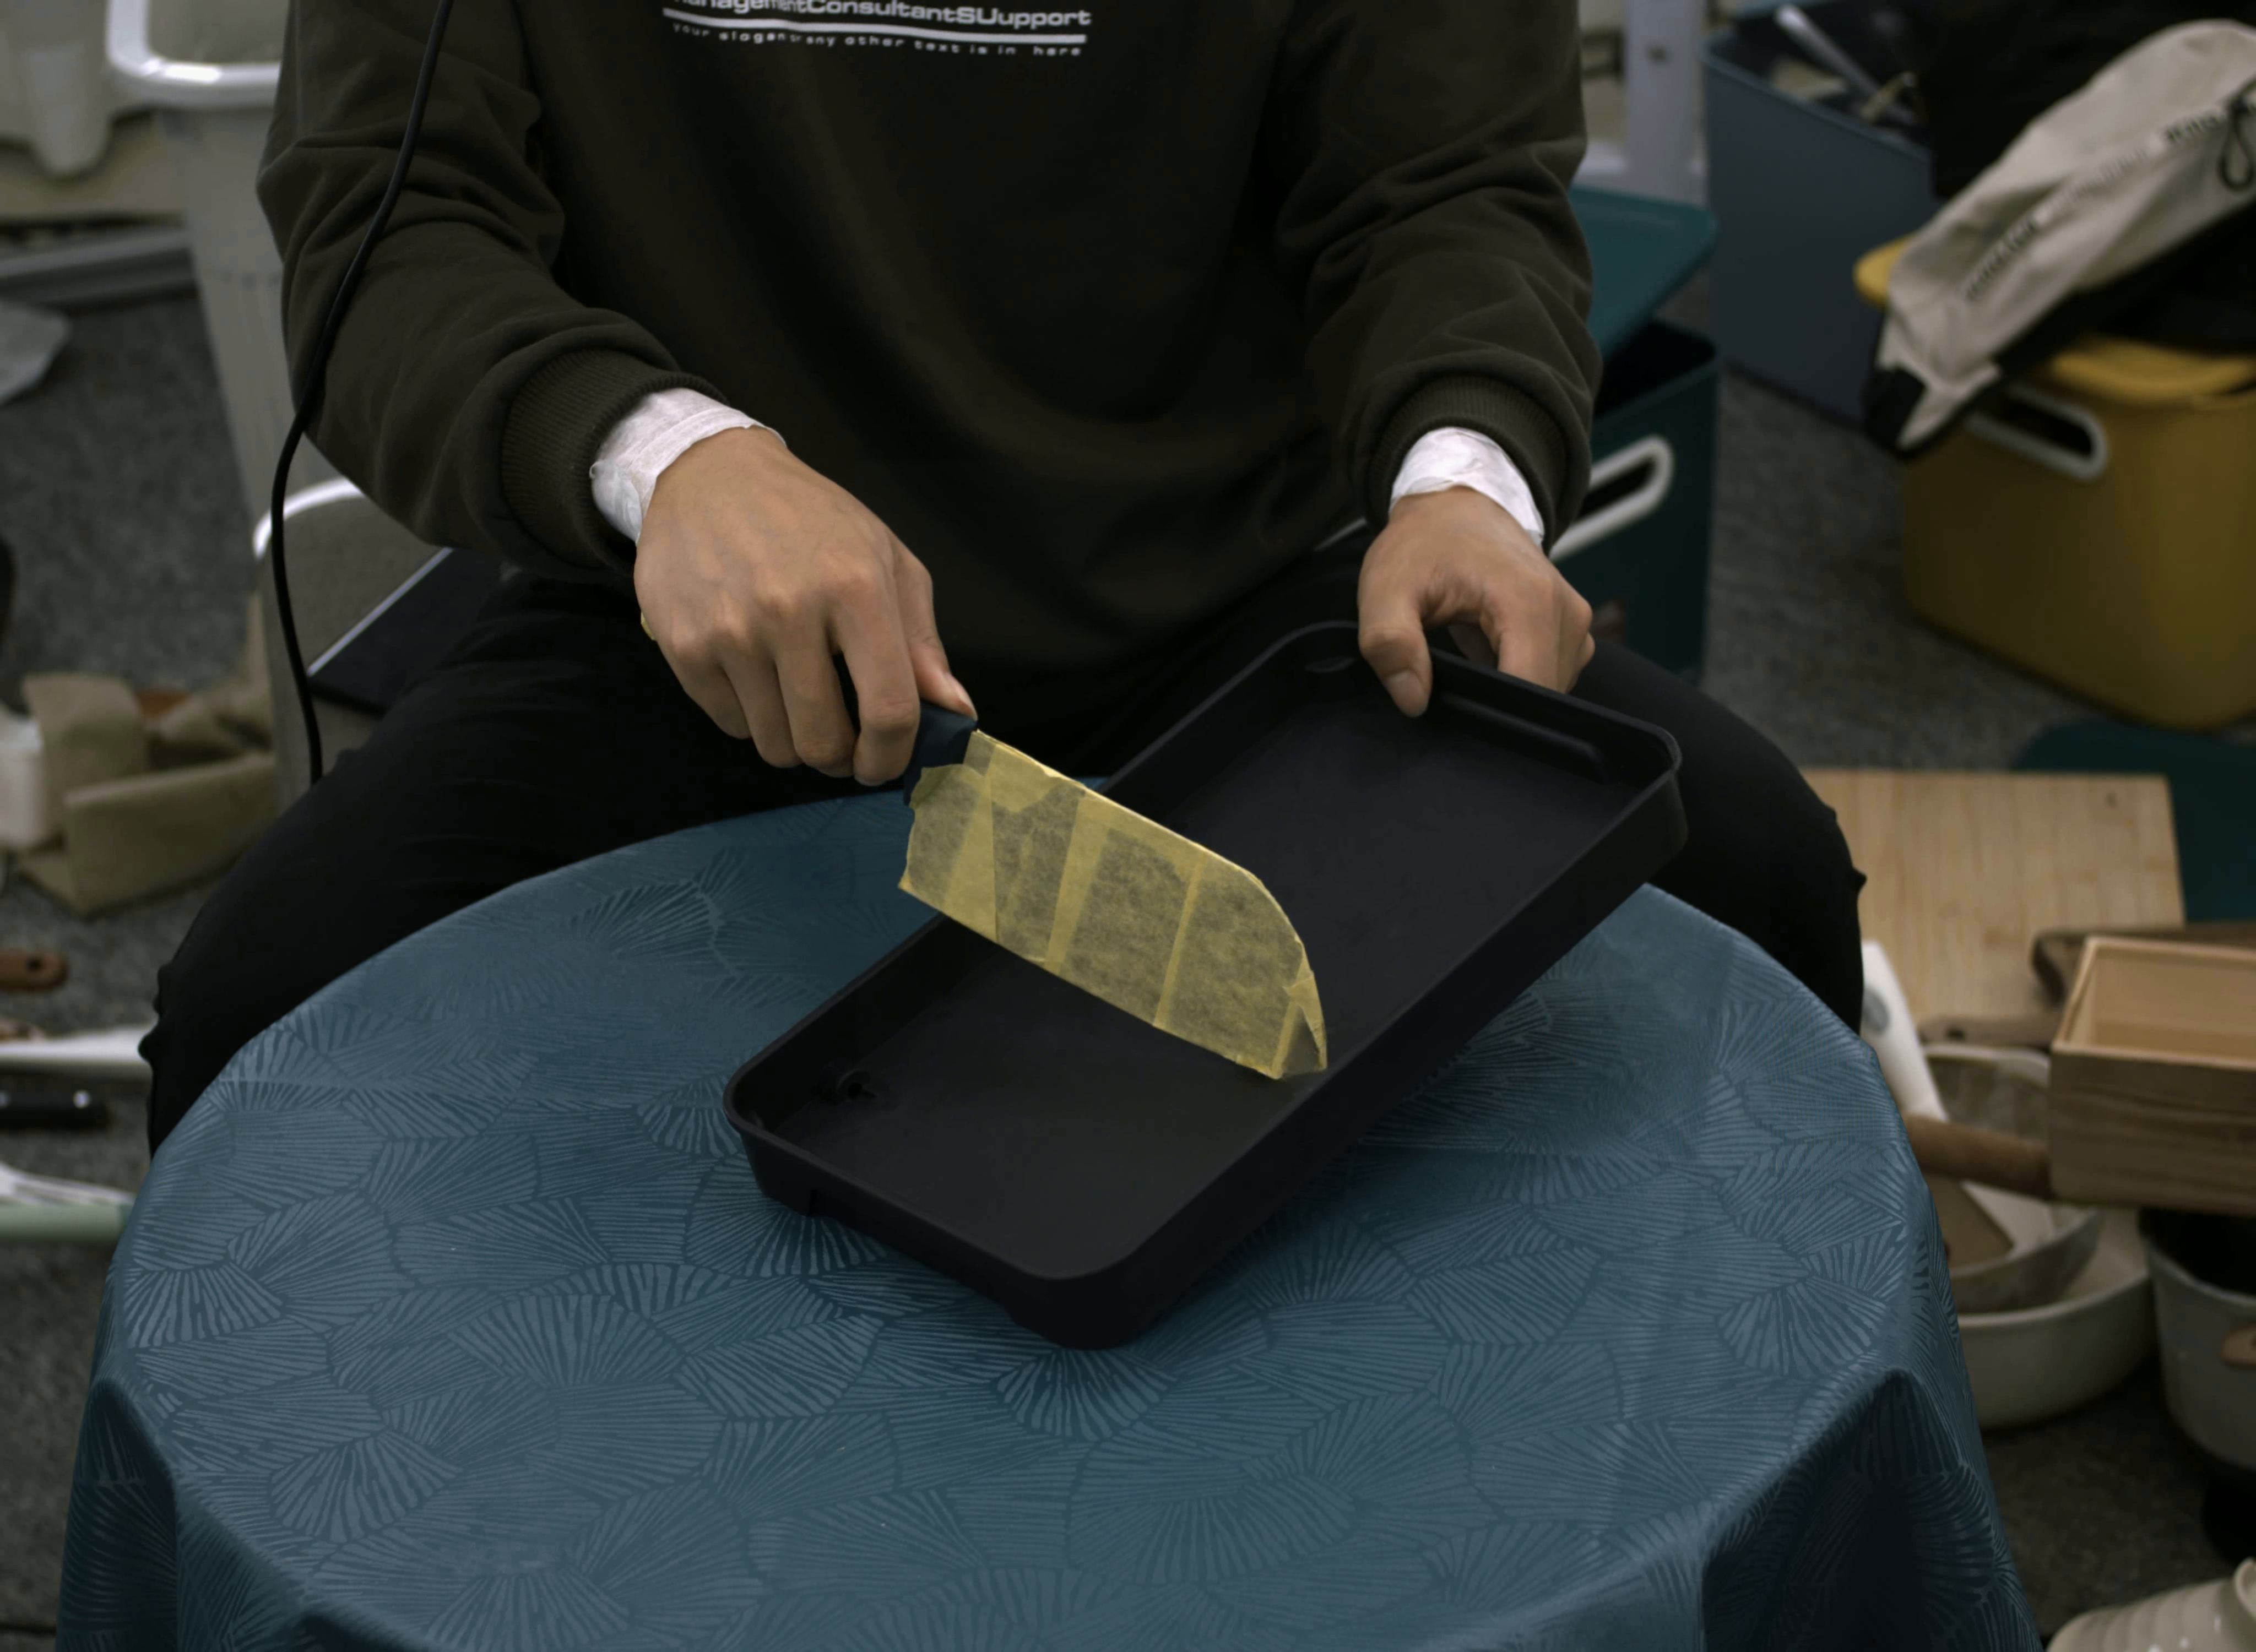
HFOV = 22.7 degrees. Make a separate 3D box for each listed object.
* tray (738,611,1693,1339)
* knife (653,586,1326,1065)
[{"bbox_3d":[0.034,0.043,1.899,0.184,0.036,0.322,19,47,39],"label":"tray"},{"bbox_3d":[-0.049,-0.001,1.897,0.289,0.080,0.027,31,30,23],"label":"knife"}]
